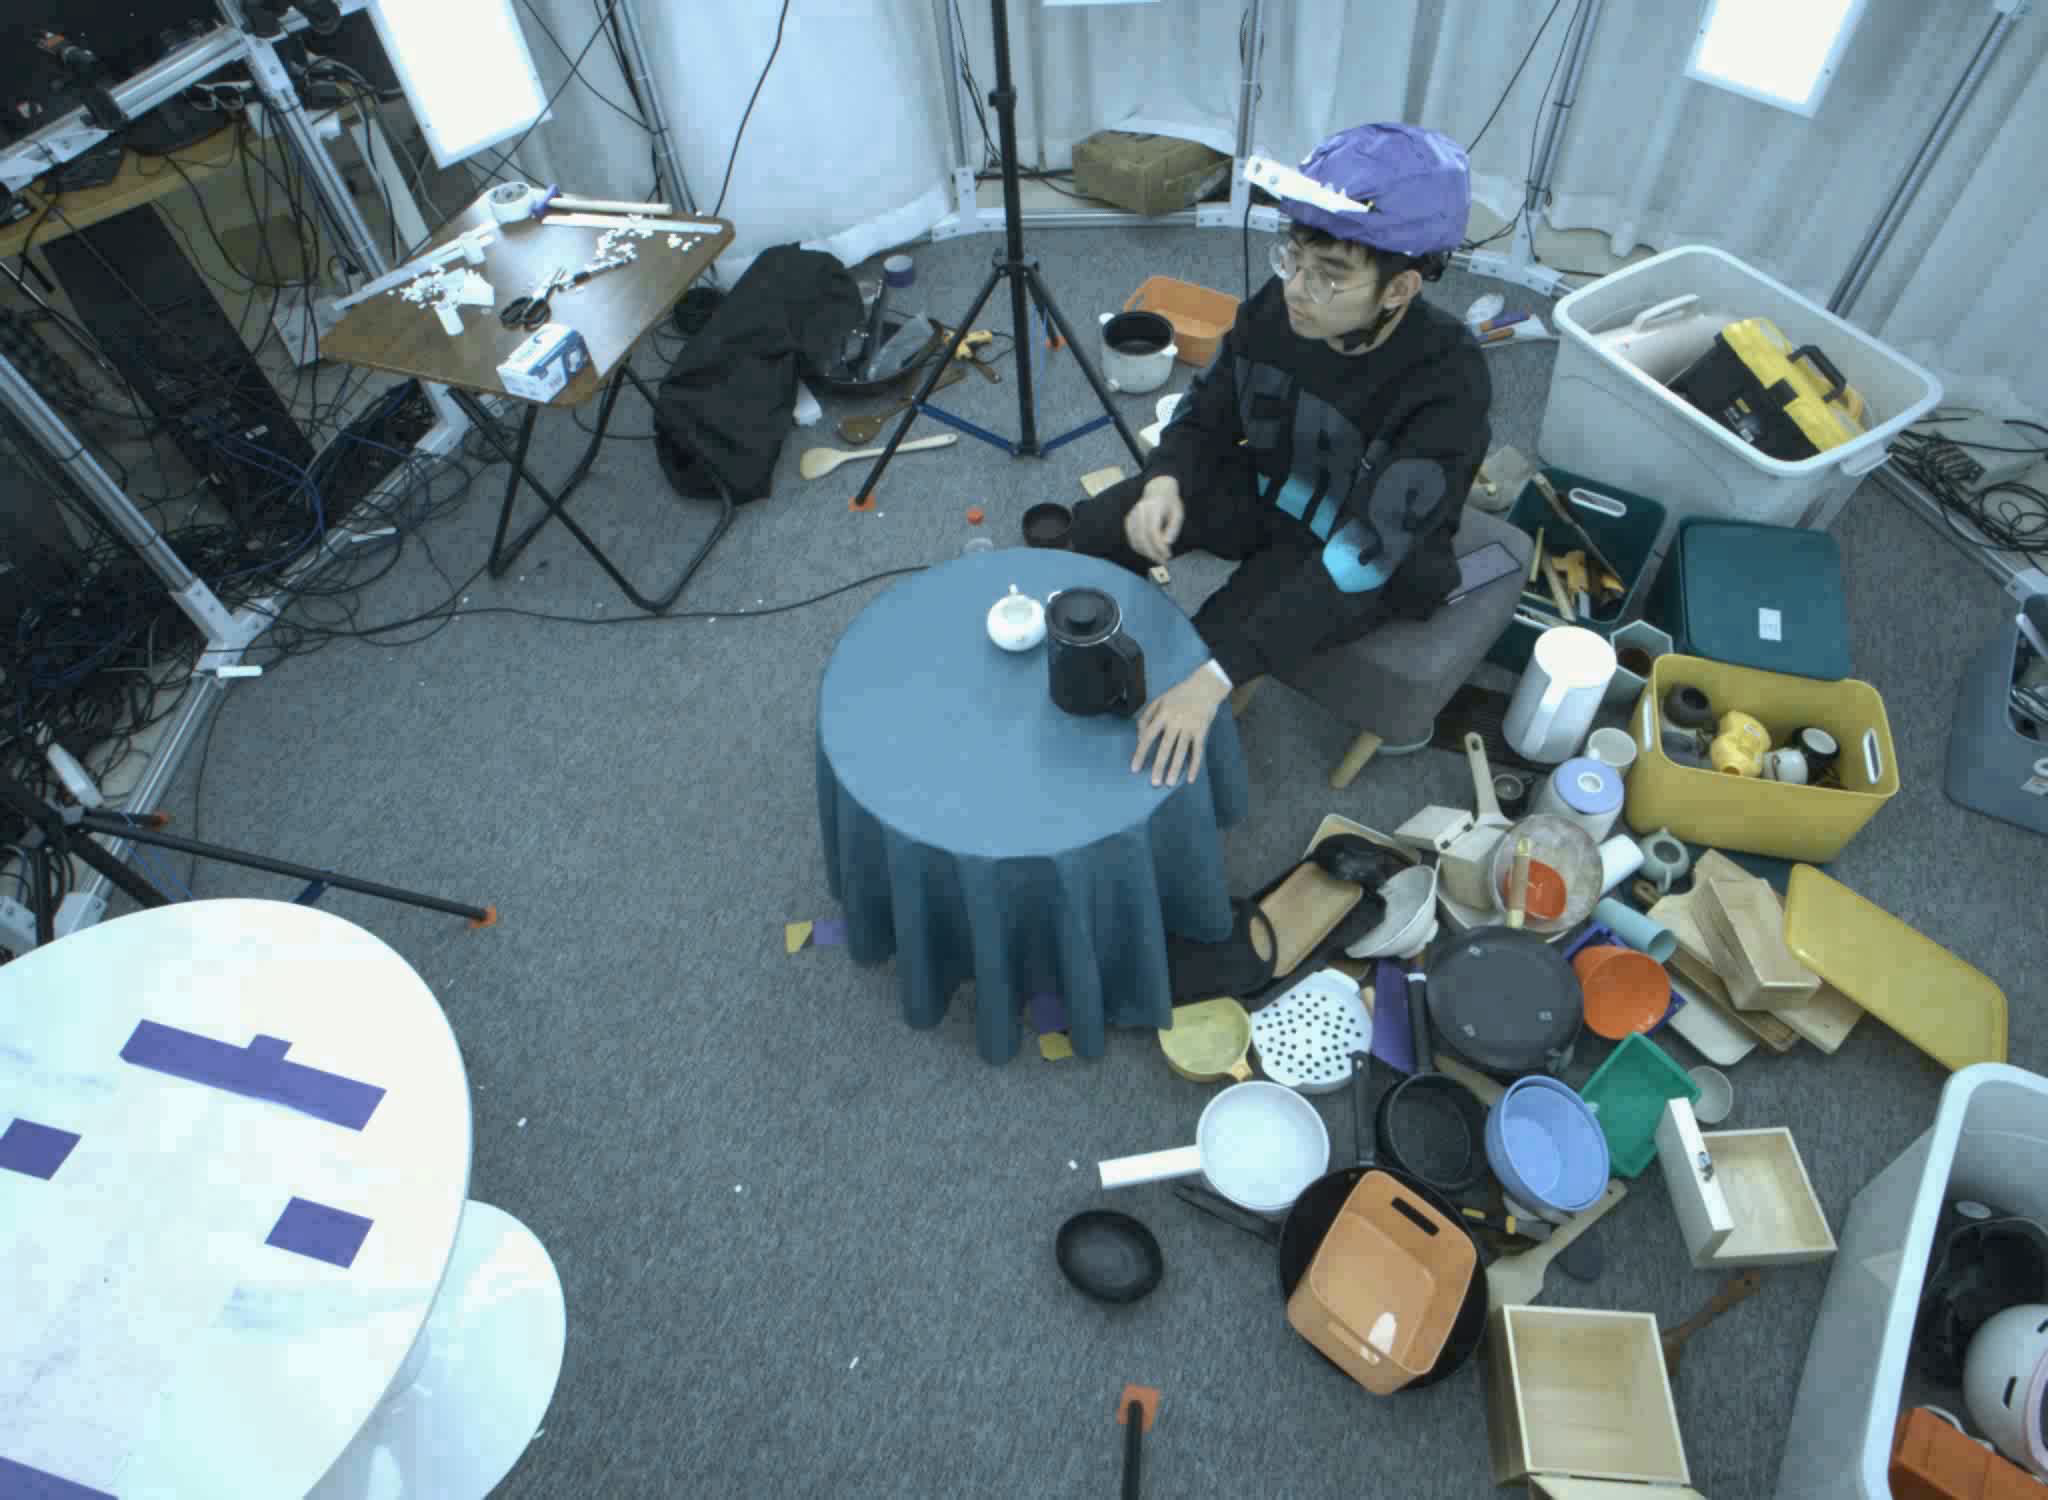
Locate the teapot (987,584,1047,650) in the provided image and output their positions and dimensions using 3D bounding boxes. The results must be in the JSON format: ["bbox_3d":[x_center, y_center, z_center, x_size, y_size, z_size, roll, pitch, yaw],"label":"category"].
[{"bbox_3d":[-0.013,-0.205,1.896,0.093,0.057,0.125,-13,54,-2],"label":"teapot"}]

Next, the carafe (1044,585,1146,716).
[{"bbox_3d":[0.103,-0.134,1.769,0.168,0.175,0.115,35,62,27],"label":"carafe"}]
